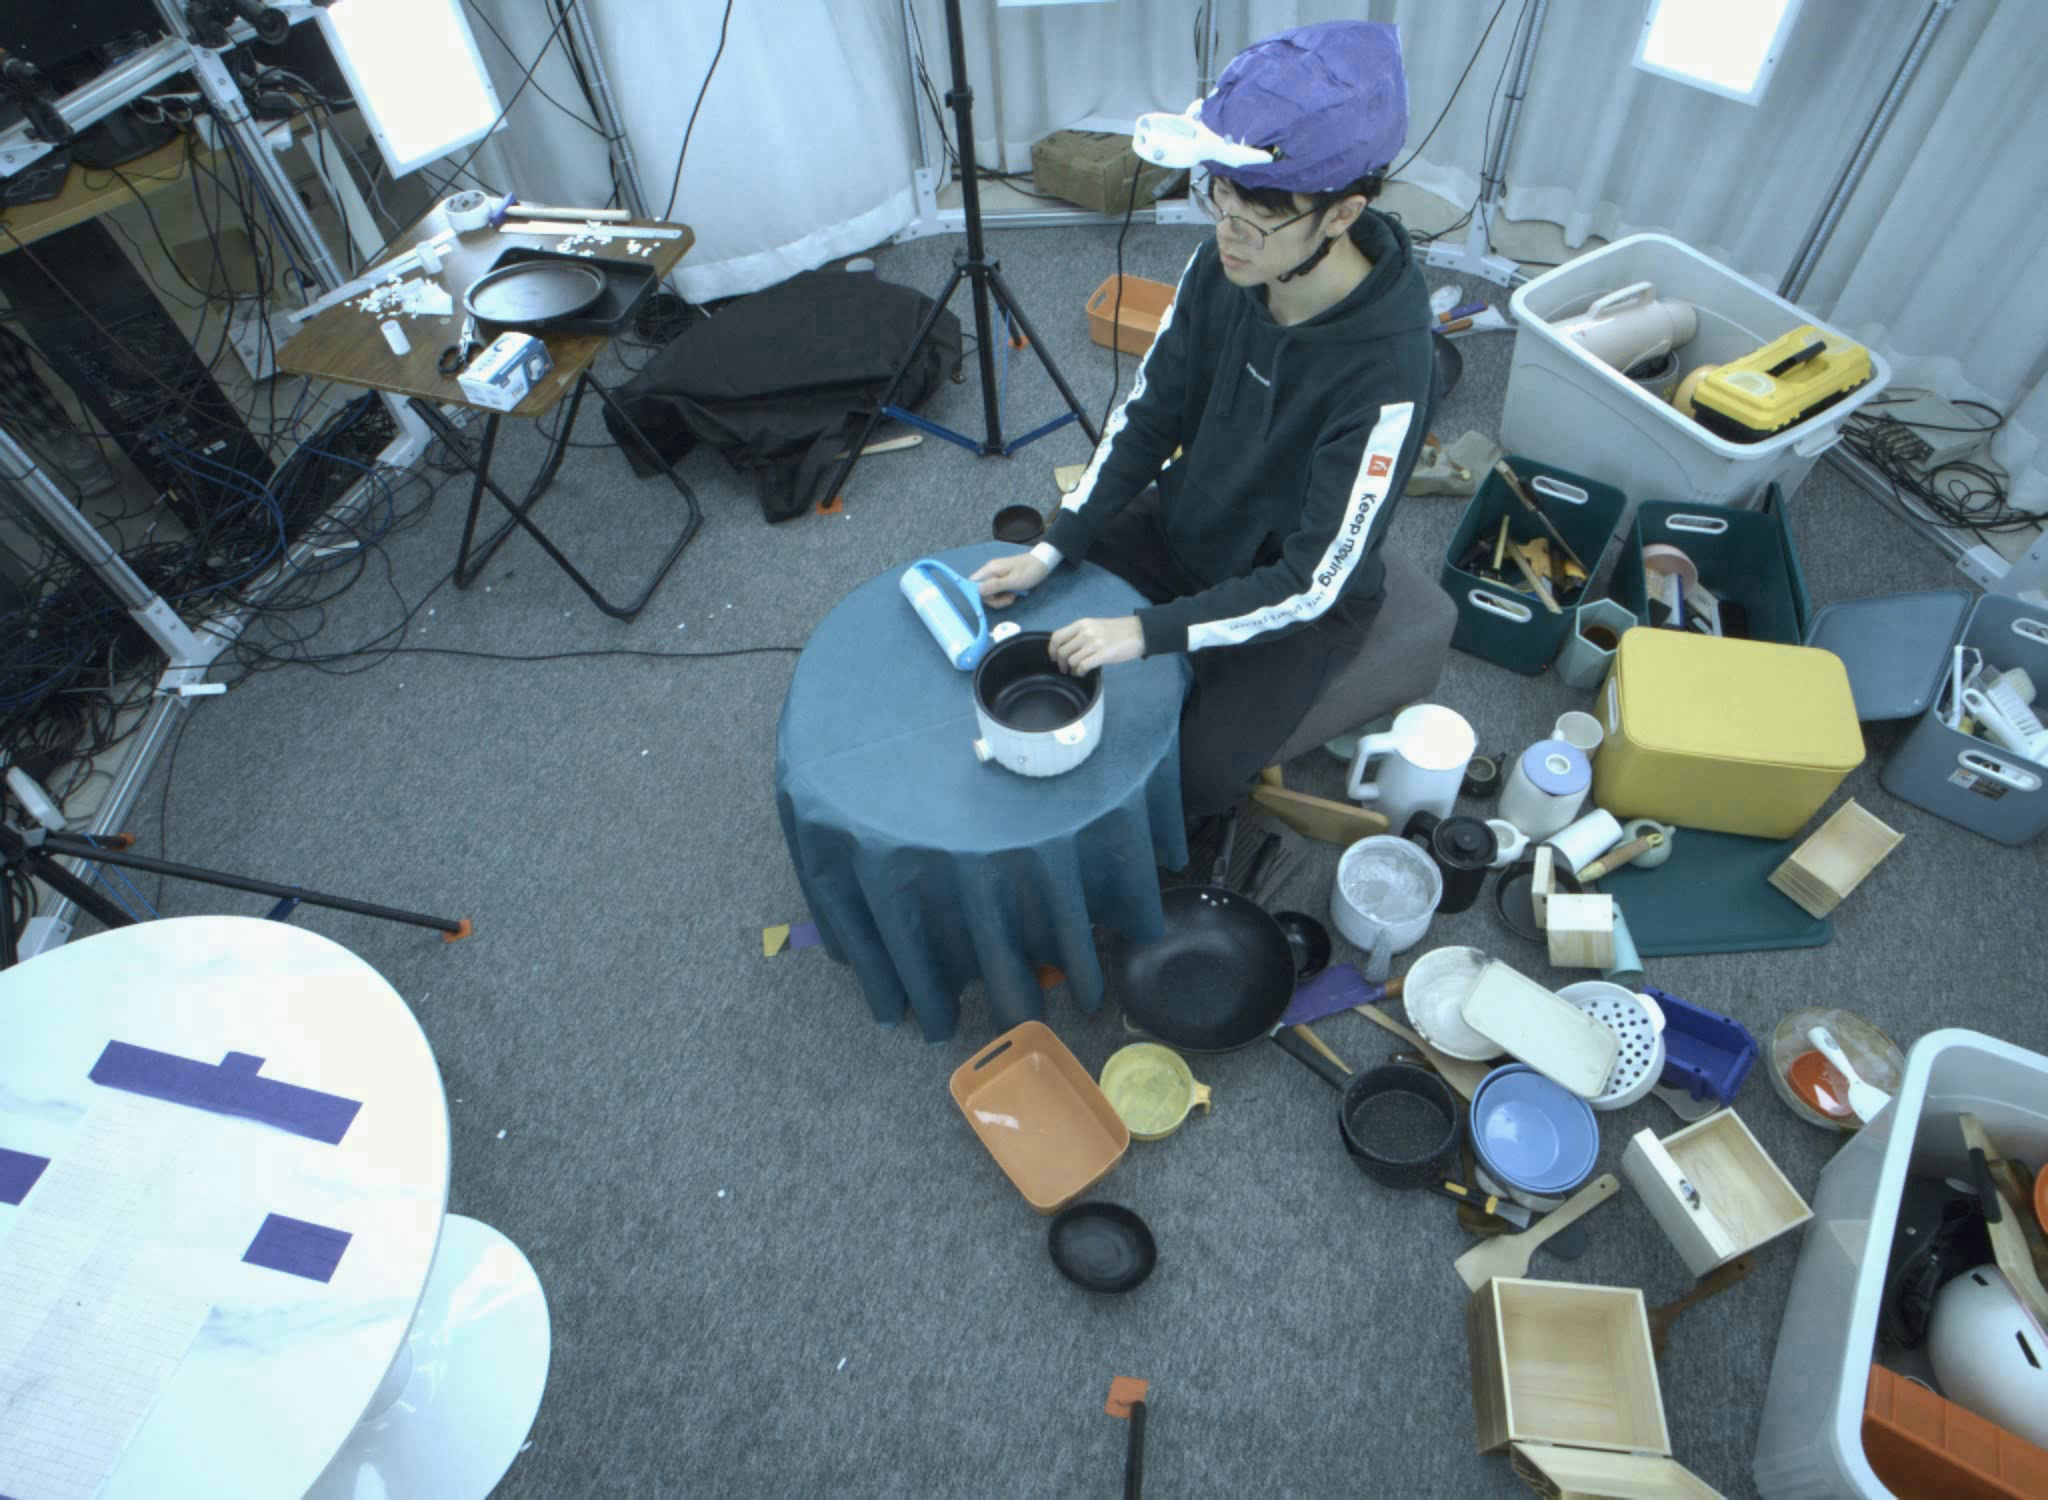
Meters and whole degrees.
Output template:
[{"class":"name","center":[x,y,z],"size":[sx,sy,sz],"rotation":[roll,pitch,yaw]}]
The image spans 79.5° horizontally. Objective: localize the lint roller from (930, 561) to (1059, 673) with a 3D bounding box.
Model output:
[{"class":"lint roller","center":[-0.030,-0.230,1.912],"size":[0.181,0.069,0.224],"rotation":[-28,56,-15]}]

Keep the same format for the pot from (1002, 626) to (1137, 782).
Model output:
[{"class":"pot","center":[0.060,-0.049,1.730],"size":[0.192,0.144,0.236],"rotation":[-20,55,-15]}]
